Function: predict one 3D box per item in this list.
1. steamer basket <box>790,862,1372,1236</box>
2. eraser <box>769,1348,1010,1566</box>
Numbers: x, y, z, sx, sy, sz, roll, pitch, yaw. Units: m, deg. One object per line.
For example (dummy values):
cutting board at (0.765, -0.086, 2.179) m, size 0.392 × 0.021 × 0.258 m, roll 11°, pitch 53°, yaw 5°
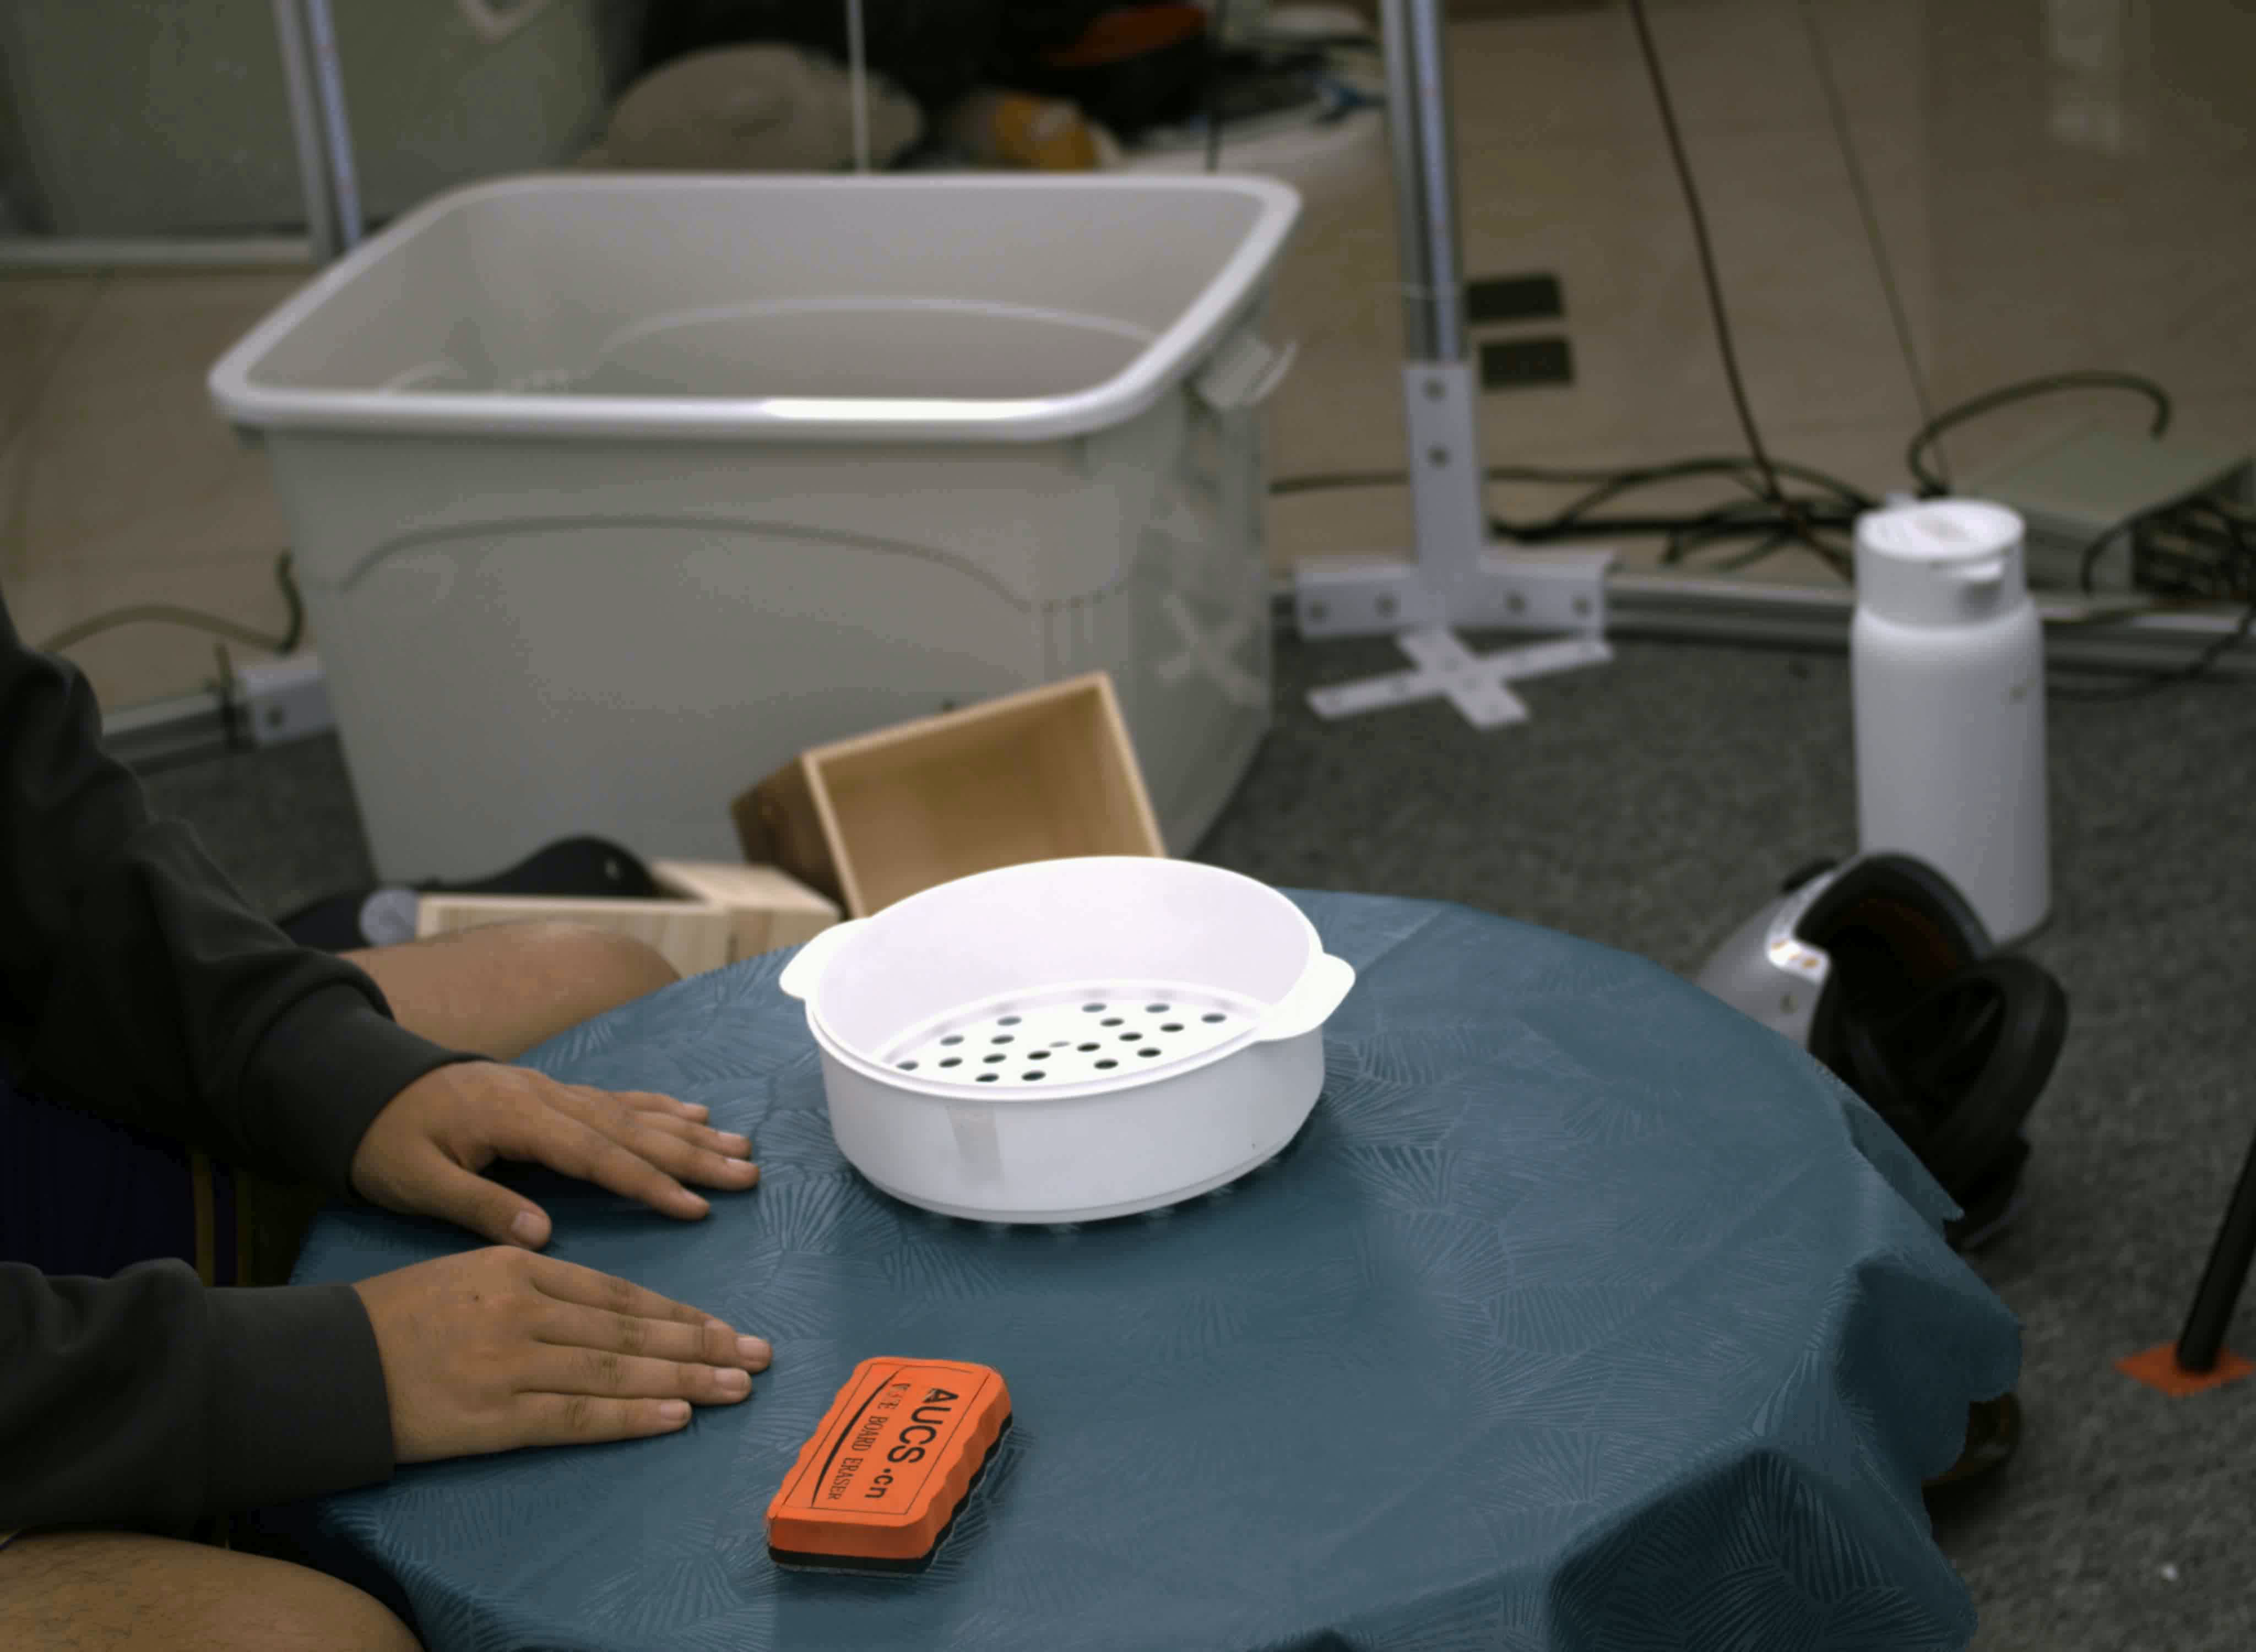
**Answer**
steamer basket at (-0.017, 0.086, 2.189) m, size 0.230 × 0.070 × 0.199 m, roll 5°, pitch 28°, yaw 21°
eraser at (-0.081, 0.217, 1.962) m, size 0.059 × 0.023 × 0.106 m, roll -4°, pitch 25°, yaw 19°
